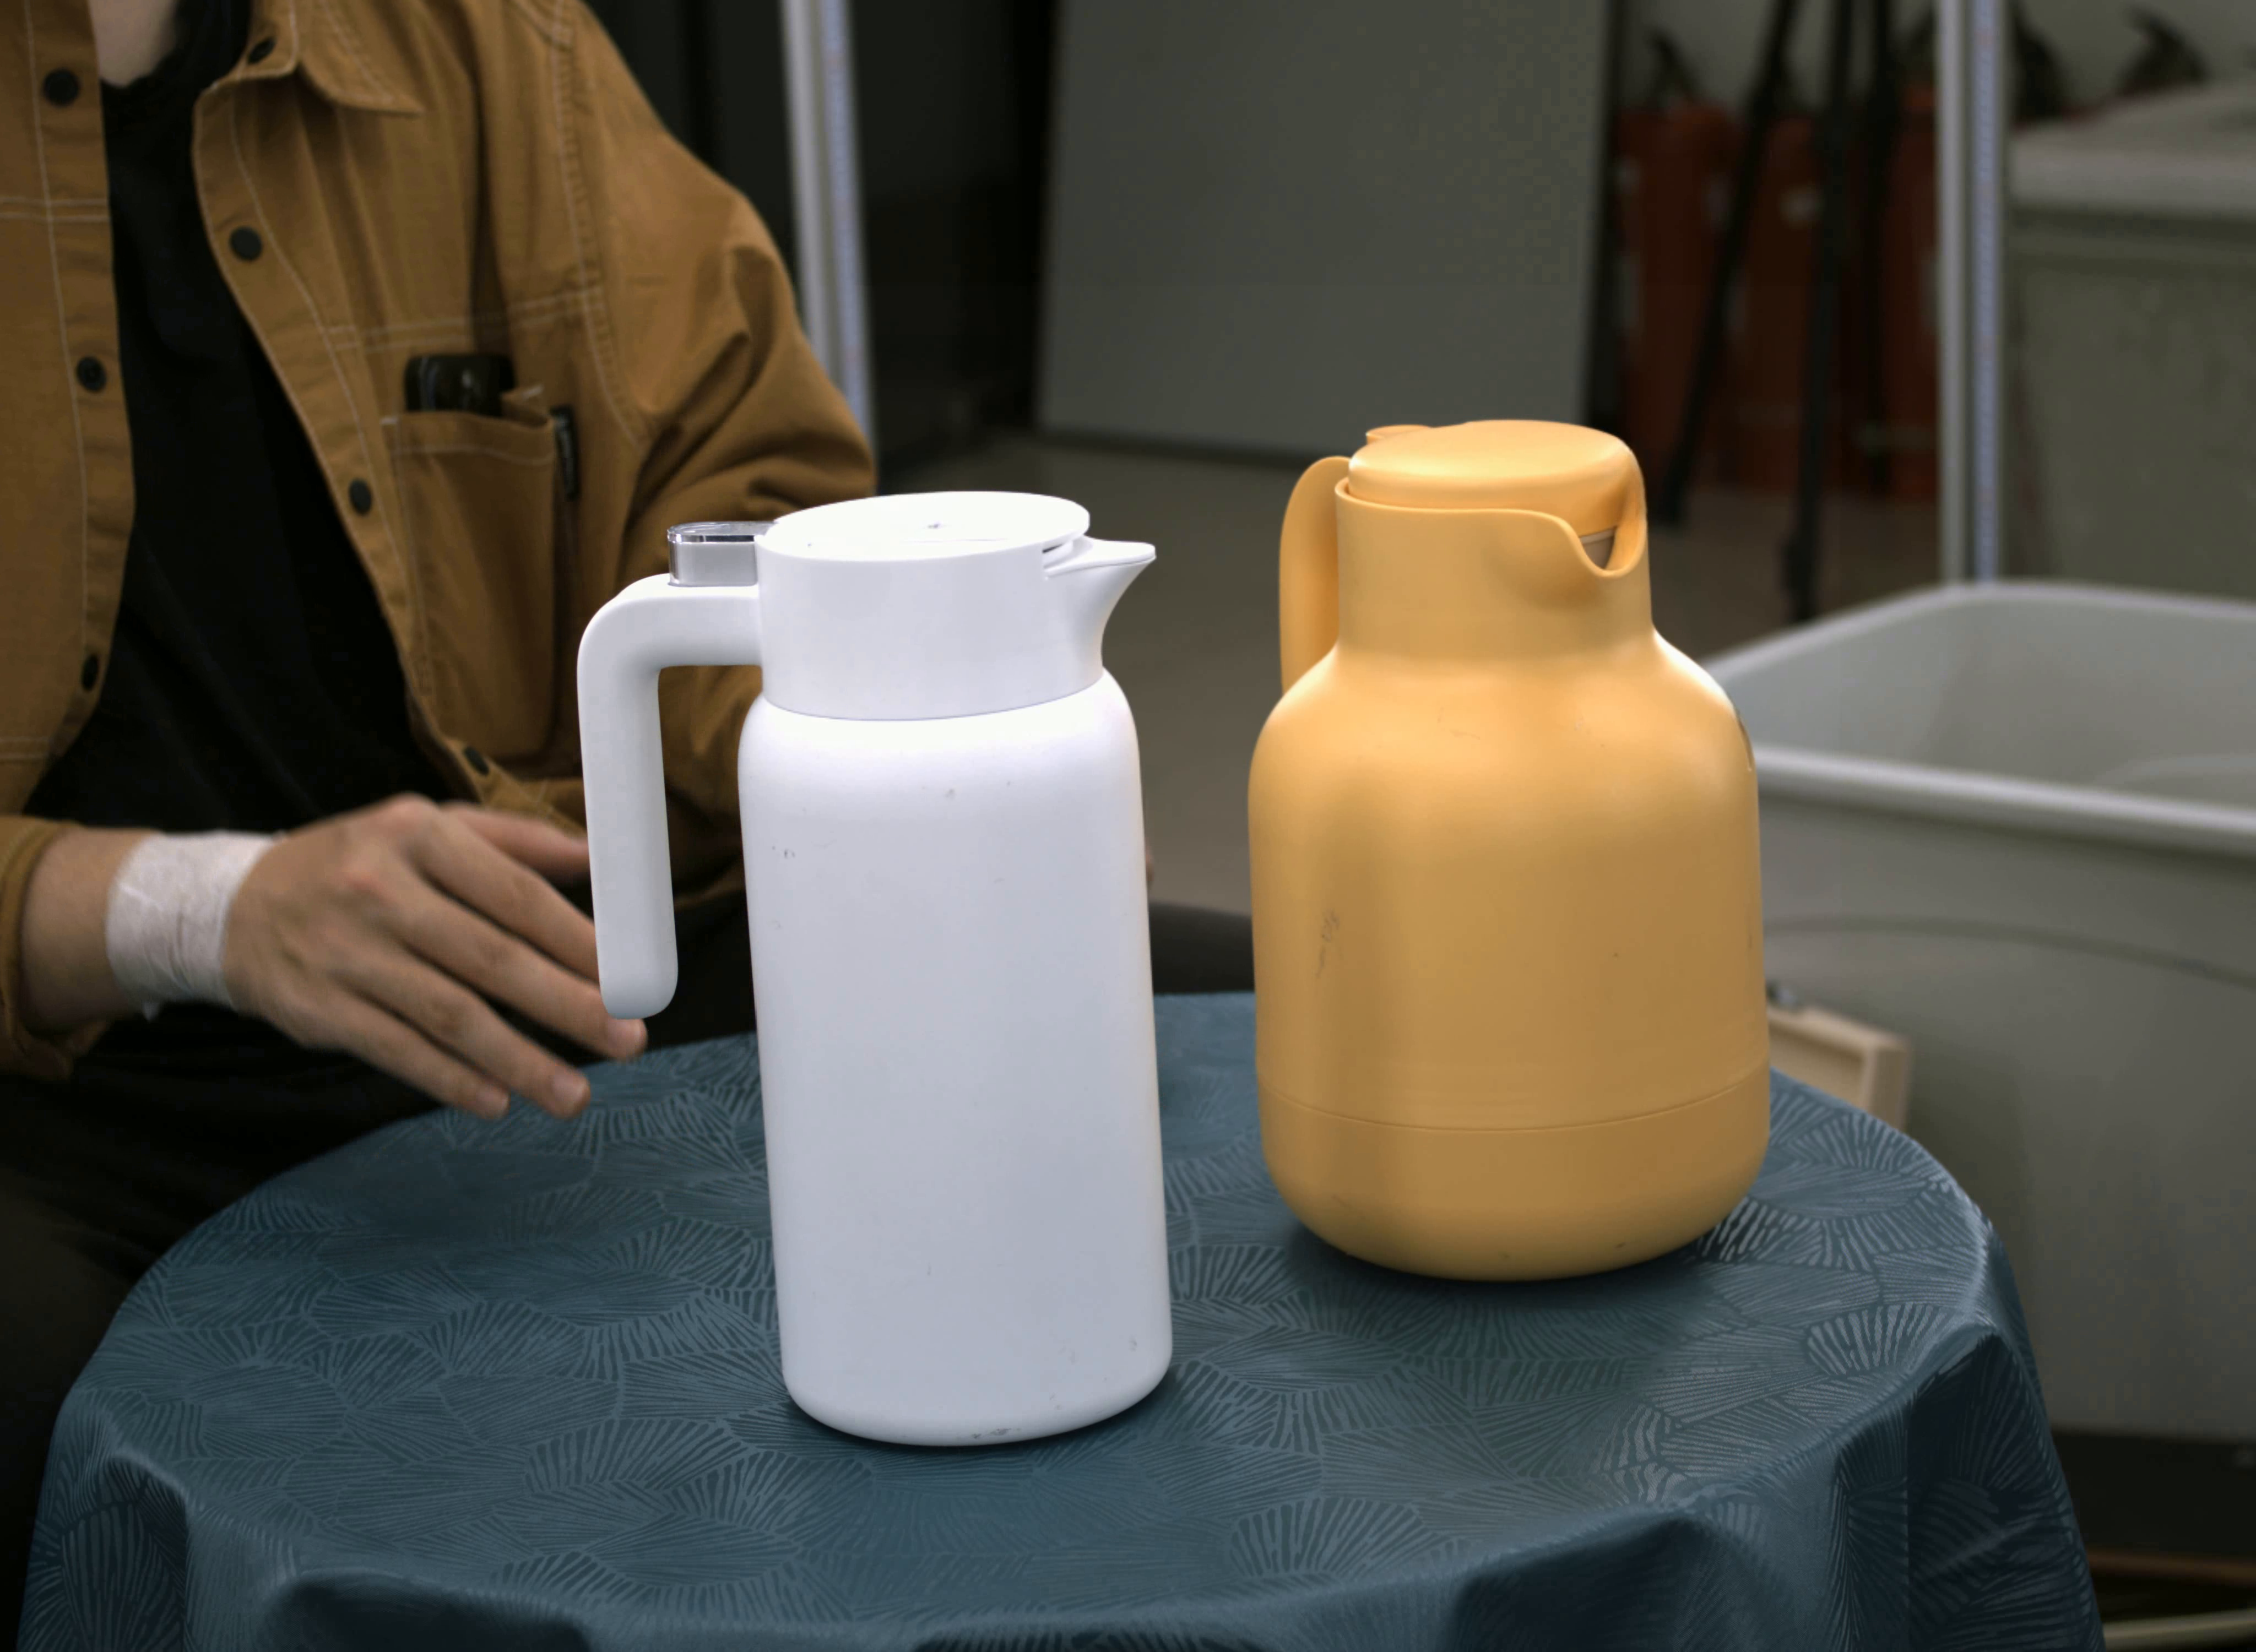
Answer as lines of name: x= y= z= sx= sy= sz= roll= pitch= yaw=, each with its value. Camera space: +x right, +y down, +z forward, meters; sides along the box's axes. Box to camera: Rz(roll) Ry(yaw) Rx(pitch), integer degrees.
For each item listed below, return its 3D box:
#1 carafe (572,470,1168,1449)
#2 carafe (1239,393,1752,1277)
carafe: x=-0.070 y=0.038 z=1.571 sx=0.171 sy=0.272 sz=0.123 roll=-1 pitch=15 yaw=11
carafe: x=0.107 y=-0.005 z=1.698 sx=0.160 sy=0.263 sz=0.204 roll=-6 pitch=15 yaw=-22
